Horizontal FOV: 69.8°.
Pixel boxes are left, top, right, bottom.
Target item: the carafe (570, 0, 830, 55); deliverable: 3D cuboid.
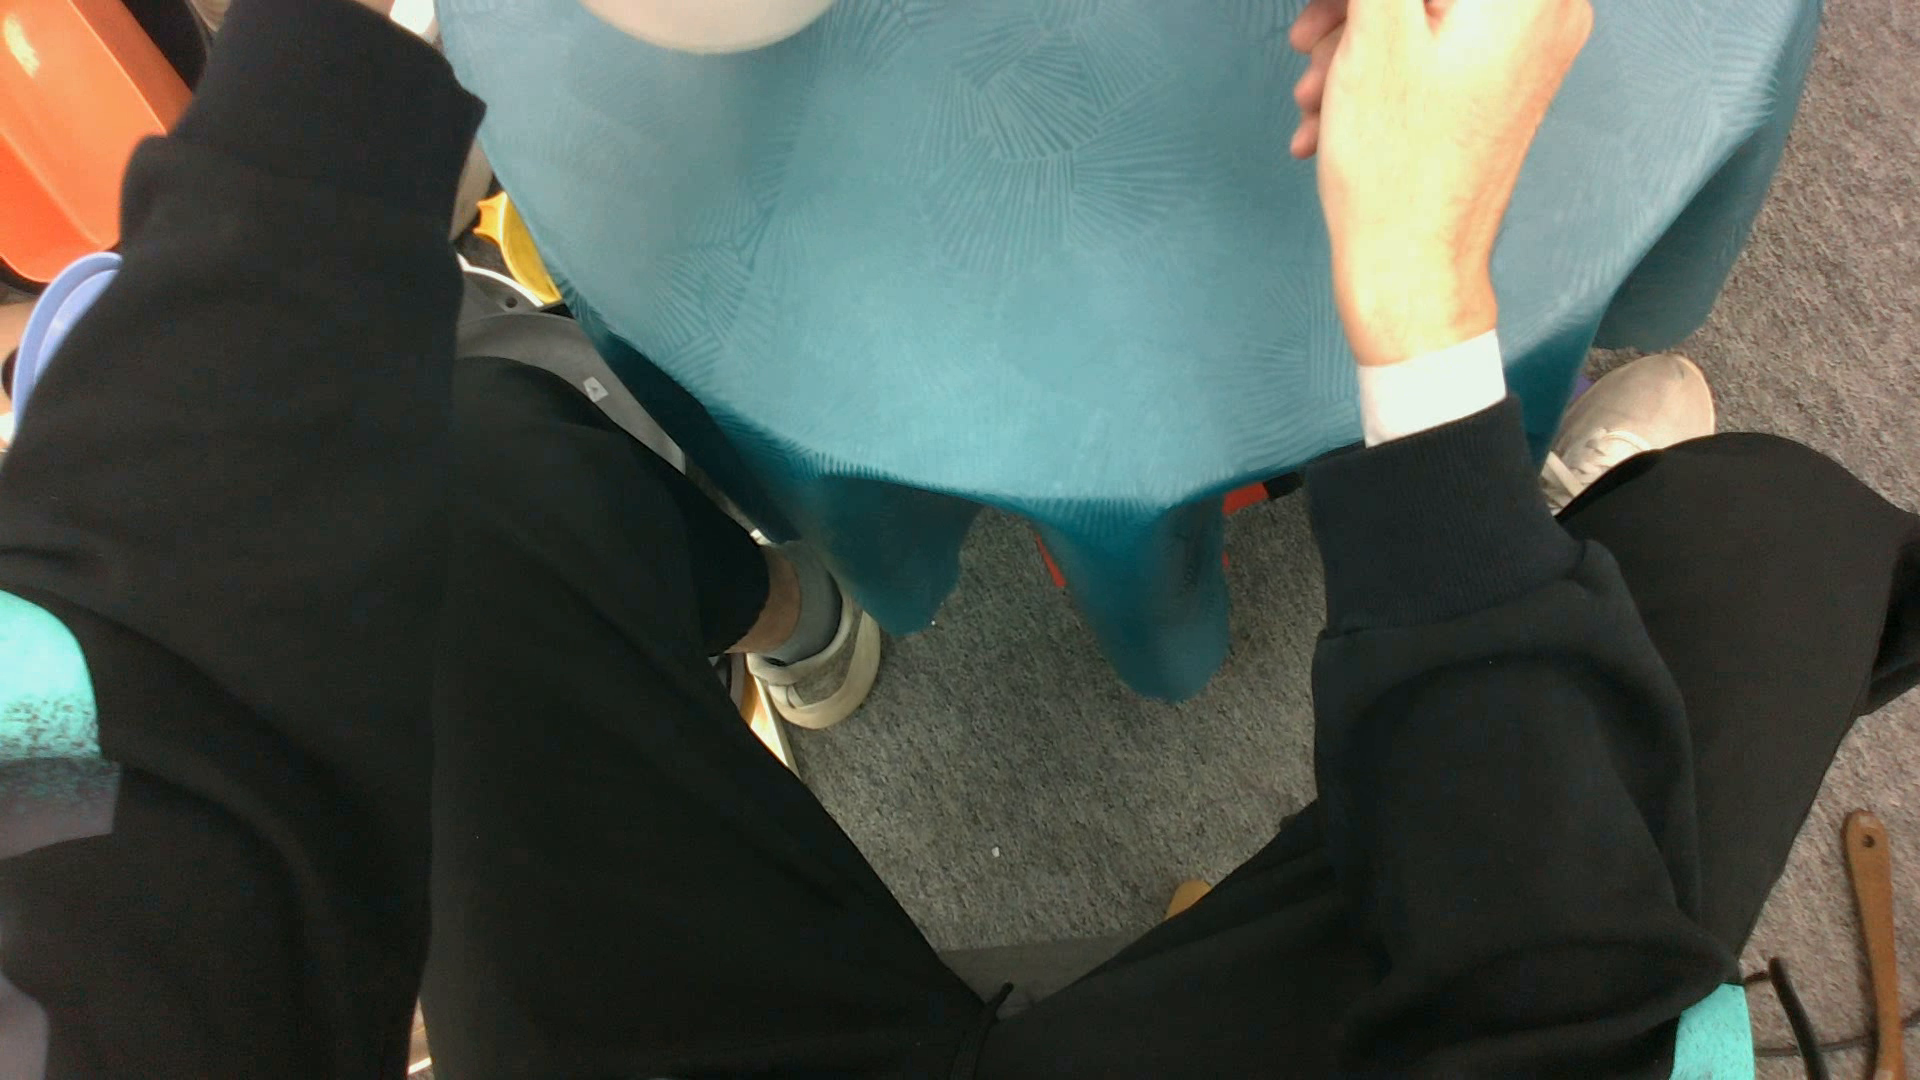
[{"bbox_3d":[-0.106,-0.251,0.433,0.191,0.182,0.132,-3,82,-12],"label":"carafe"}]
